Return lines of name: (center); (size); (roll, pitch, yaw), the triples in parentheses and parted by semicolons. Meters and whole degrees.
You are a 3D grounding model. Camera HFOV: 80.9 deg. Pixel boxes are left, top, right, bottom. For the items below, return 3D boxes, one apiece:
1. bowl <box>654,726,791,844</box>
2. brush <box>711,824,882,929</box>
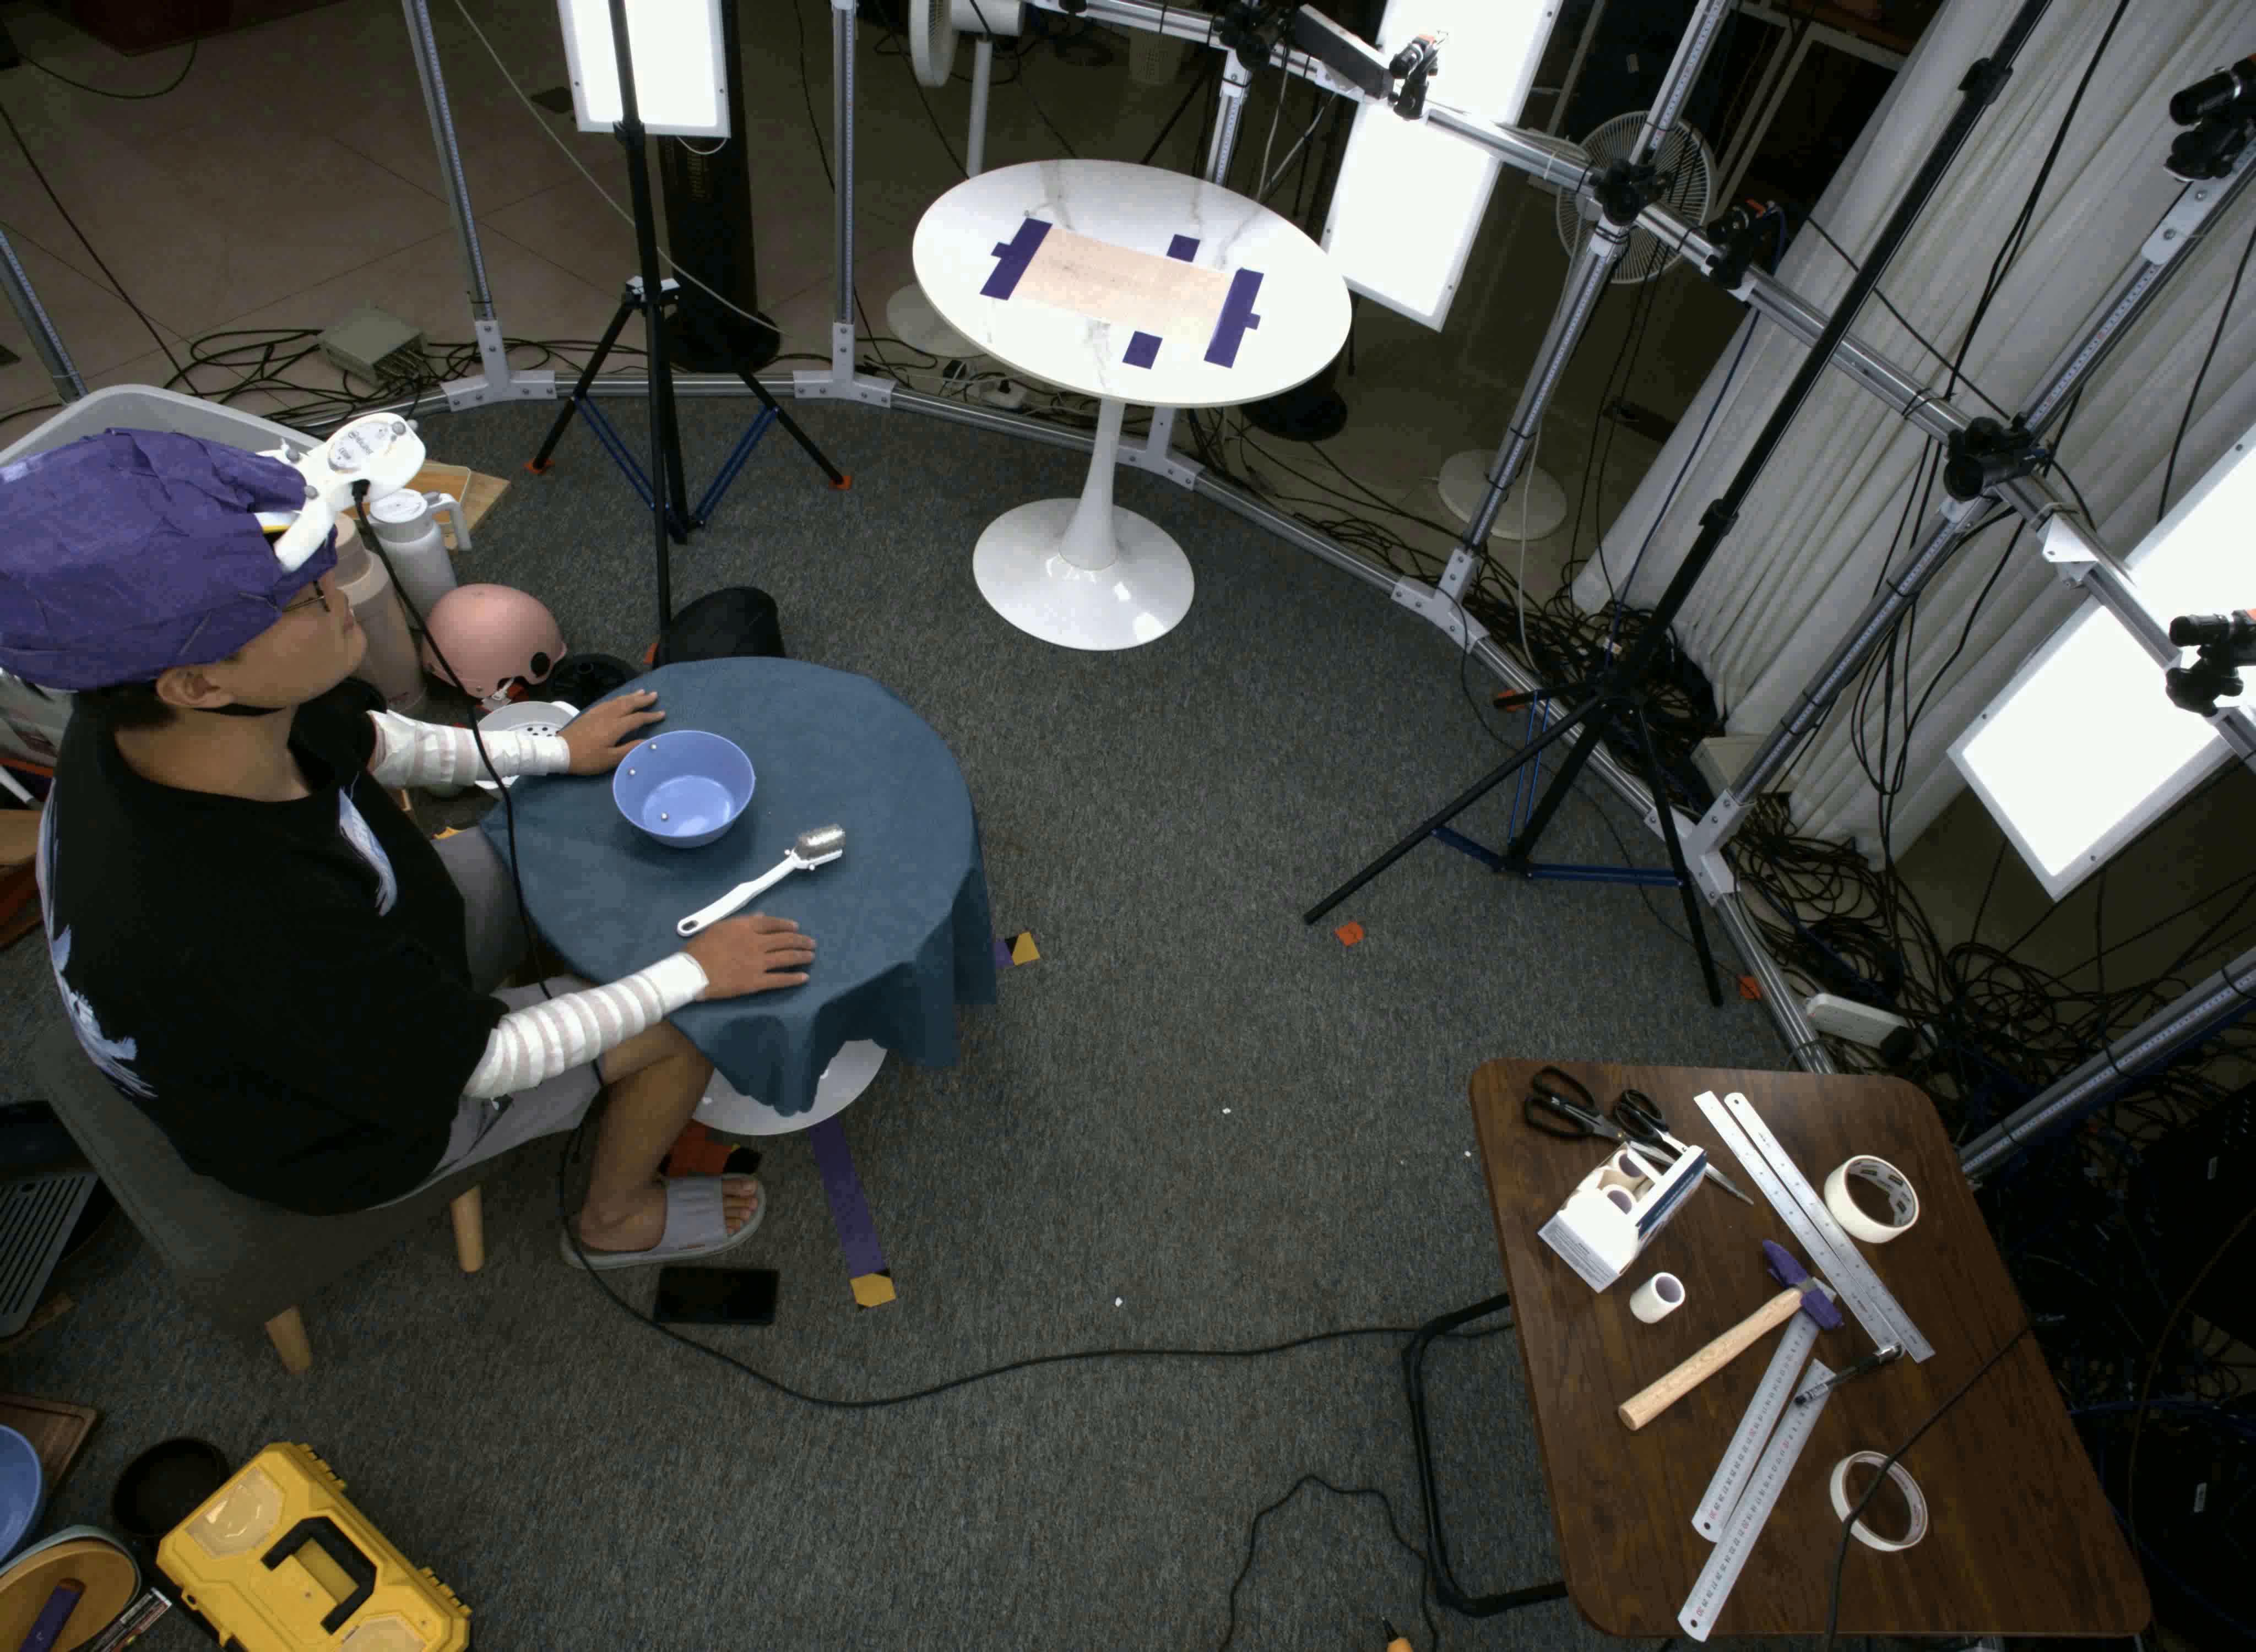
bowl: (-0.529, -0.044, 1.695); (0.175, 0.072, 0.173); (7, 52, -7)
brush: (-0.424, 0.059, 1.658); (0.244, 0.051, 0.033); (-28, 61, -30)
